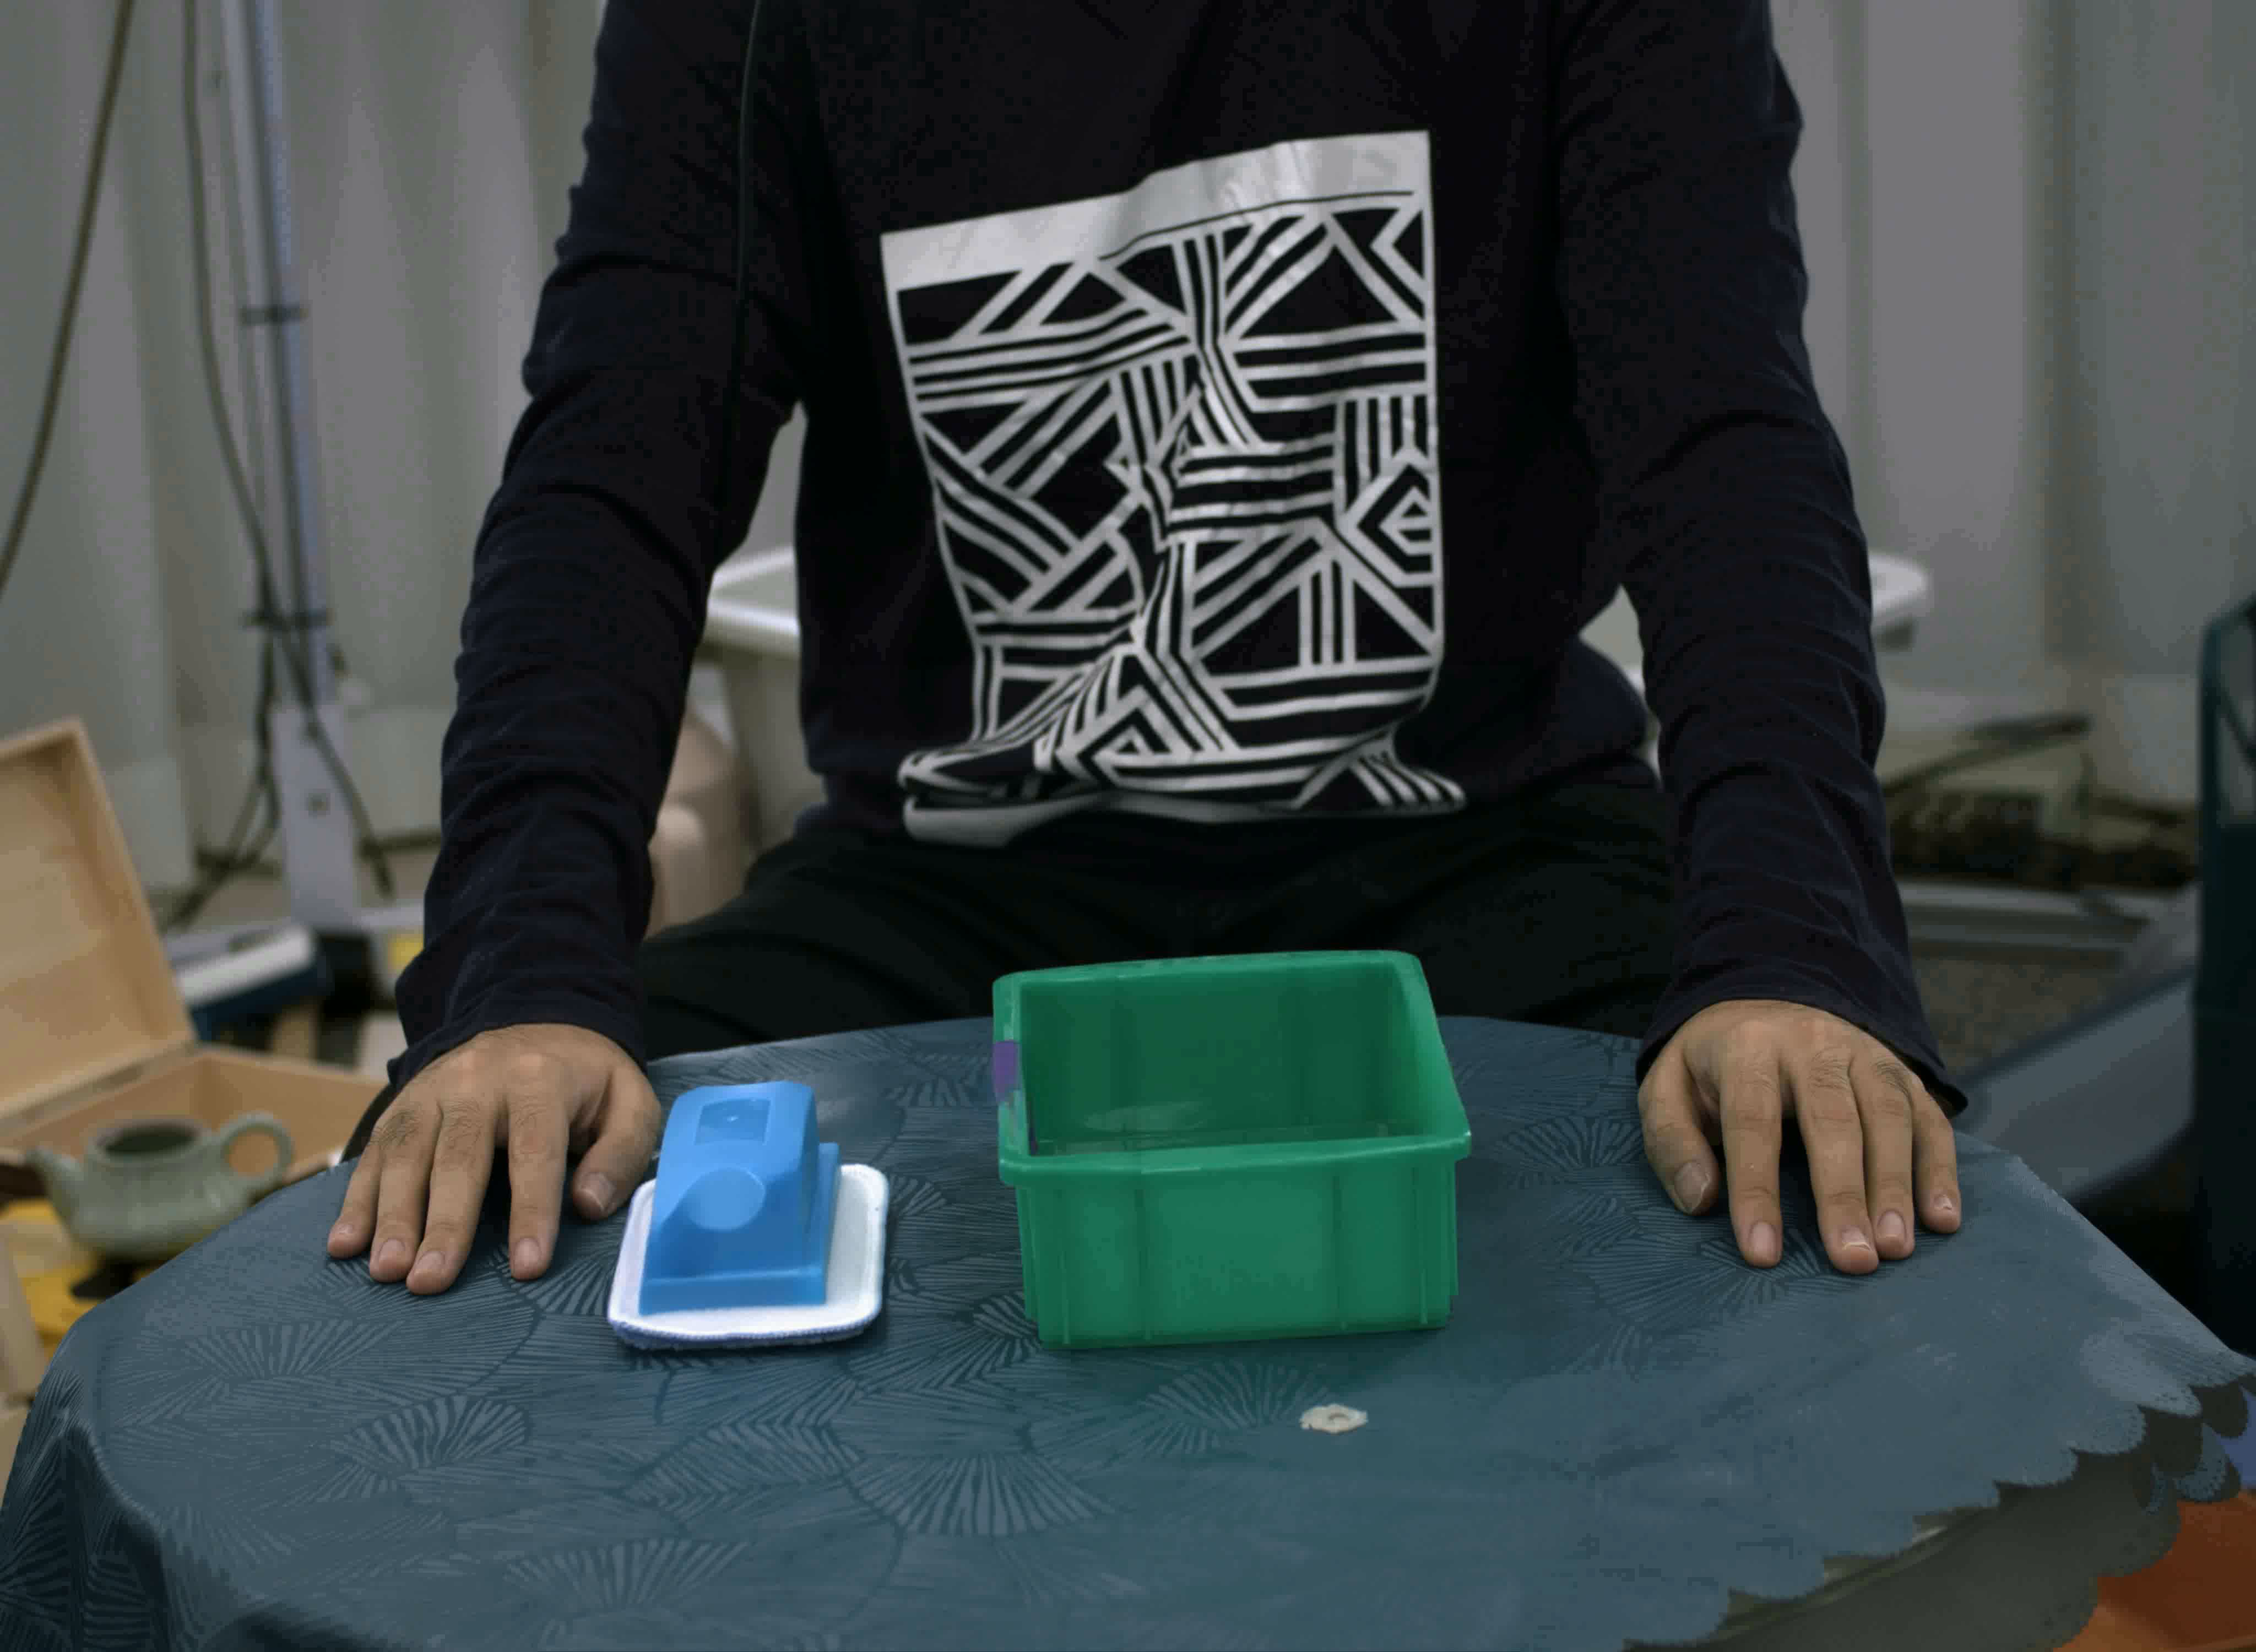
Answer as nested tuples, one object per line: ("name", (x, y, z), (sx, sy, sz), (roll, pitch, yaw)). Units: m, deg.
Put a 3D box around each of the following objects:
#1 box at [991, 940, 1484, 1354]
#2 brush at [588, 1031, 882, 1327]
("box", (0.031, 0.096, 1.657), (0.138, 0.065, 0.212), (-6, 16, -2))
("brush", (-0.118, 0.103, 1.652), (0.083, 0.055, 0.145), (-1, 20, 1))
